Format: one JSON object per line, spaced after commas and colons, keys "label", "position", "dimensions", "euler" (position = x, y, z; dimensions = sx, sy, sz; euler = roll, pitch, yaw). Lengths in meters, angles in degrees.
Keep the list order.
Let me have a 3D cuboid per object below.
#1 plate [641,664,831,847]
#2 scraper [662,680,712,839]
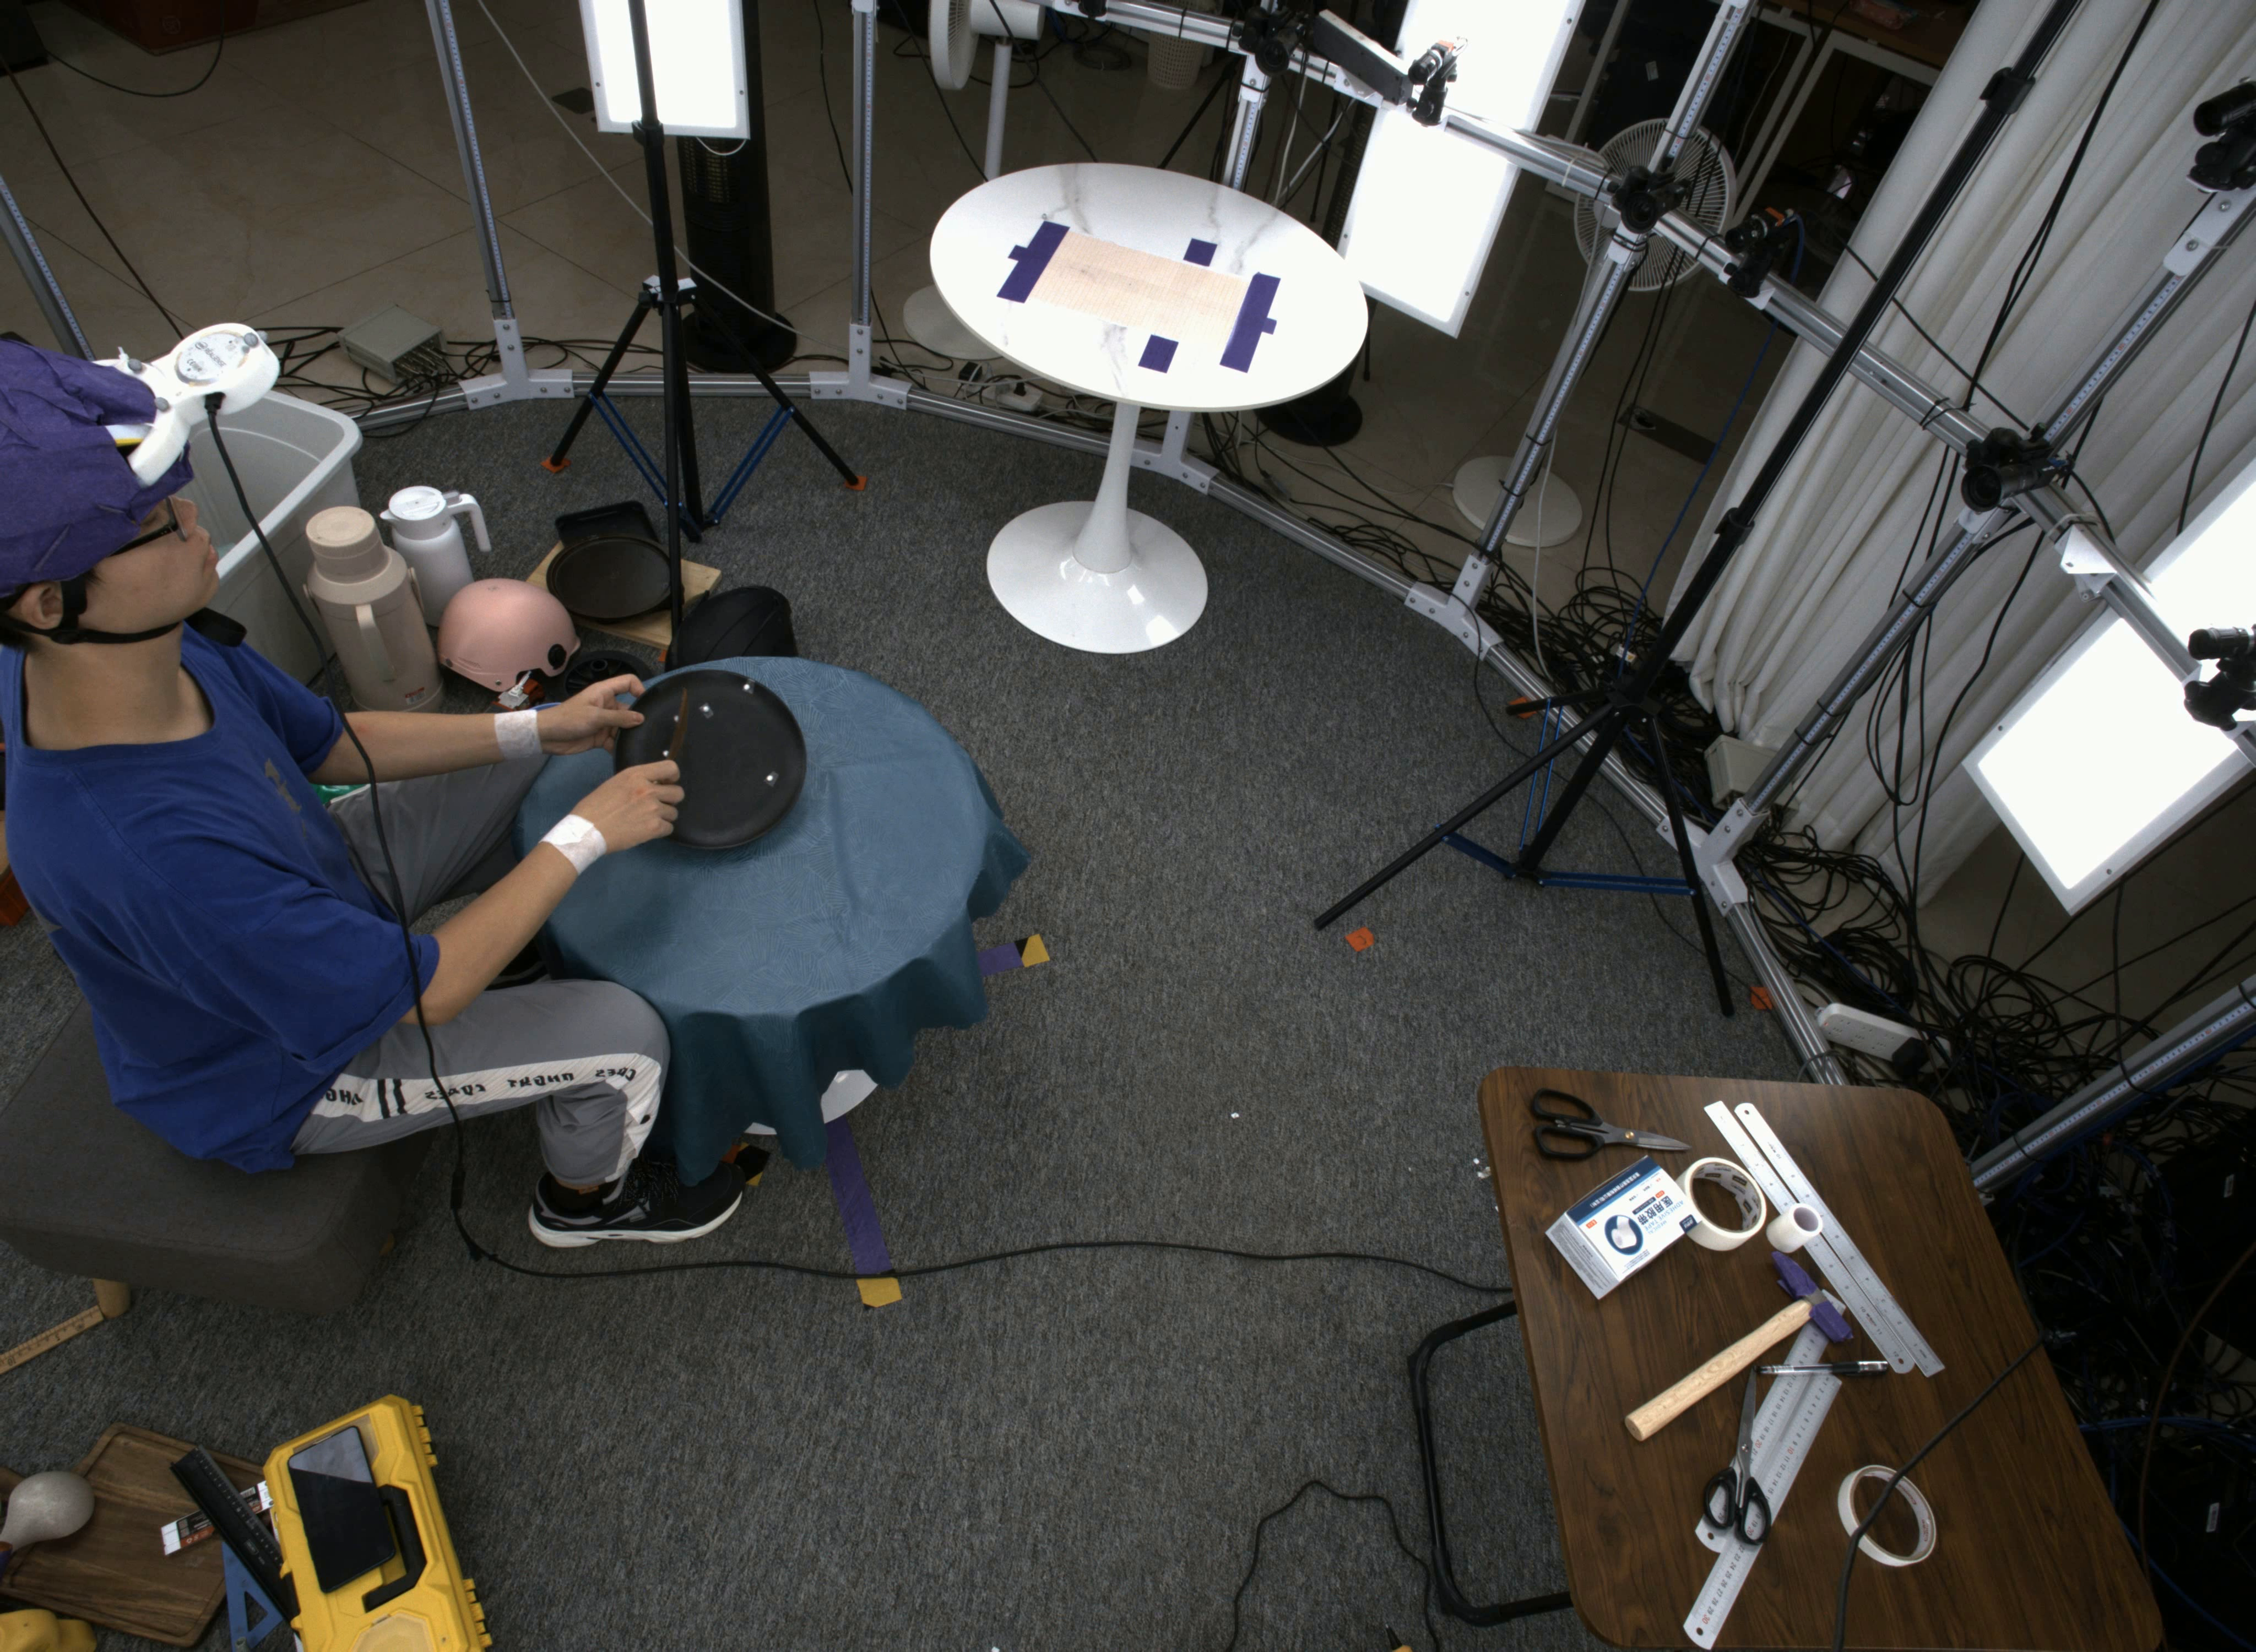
{"label": "plate", "position": [-0.514, -0.092, 1.695], "dimensions": [0.246, 0.023, 0.245], "euler": [5, 79, -19]}
{"label": "scraper", "position": [-0.542, -0.080, 1.588], "dimensions": [0.011, 0.076, 0.209], "euler": [13, 59, -9]}
